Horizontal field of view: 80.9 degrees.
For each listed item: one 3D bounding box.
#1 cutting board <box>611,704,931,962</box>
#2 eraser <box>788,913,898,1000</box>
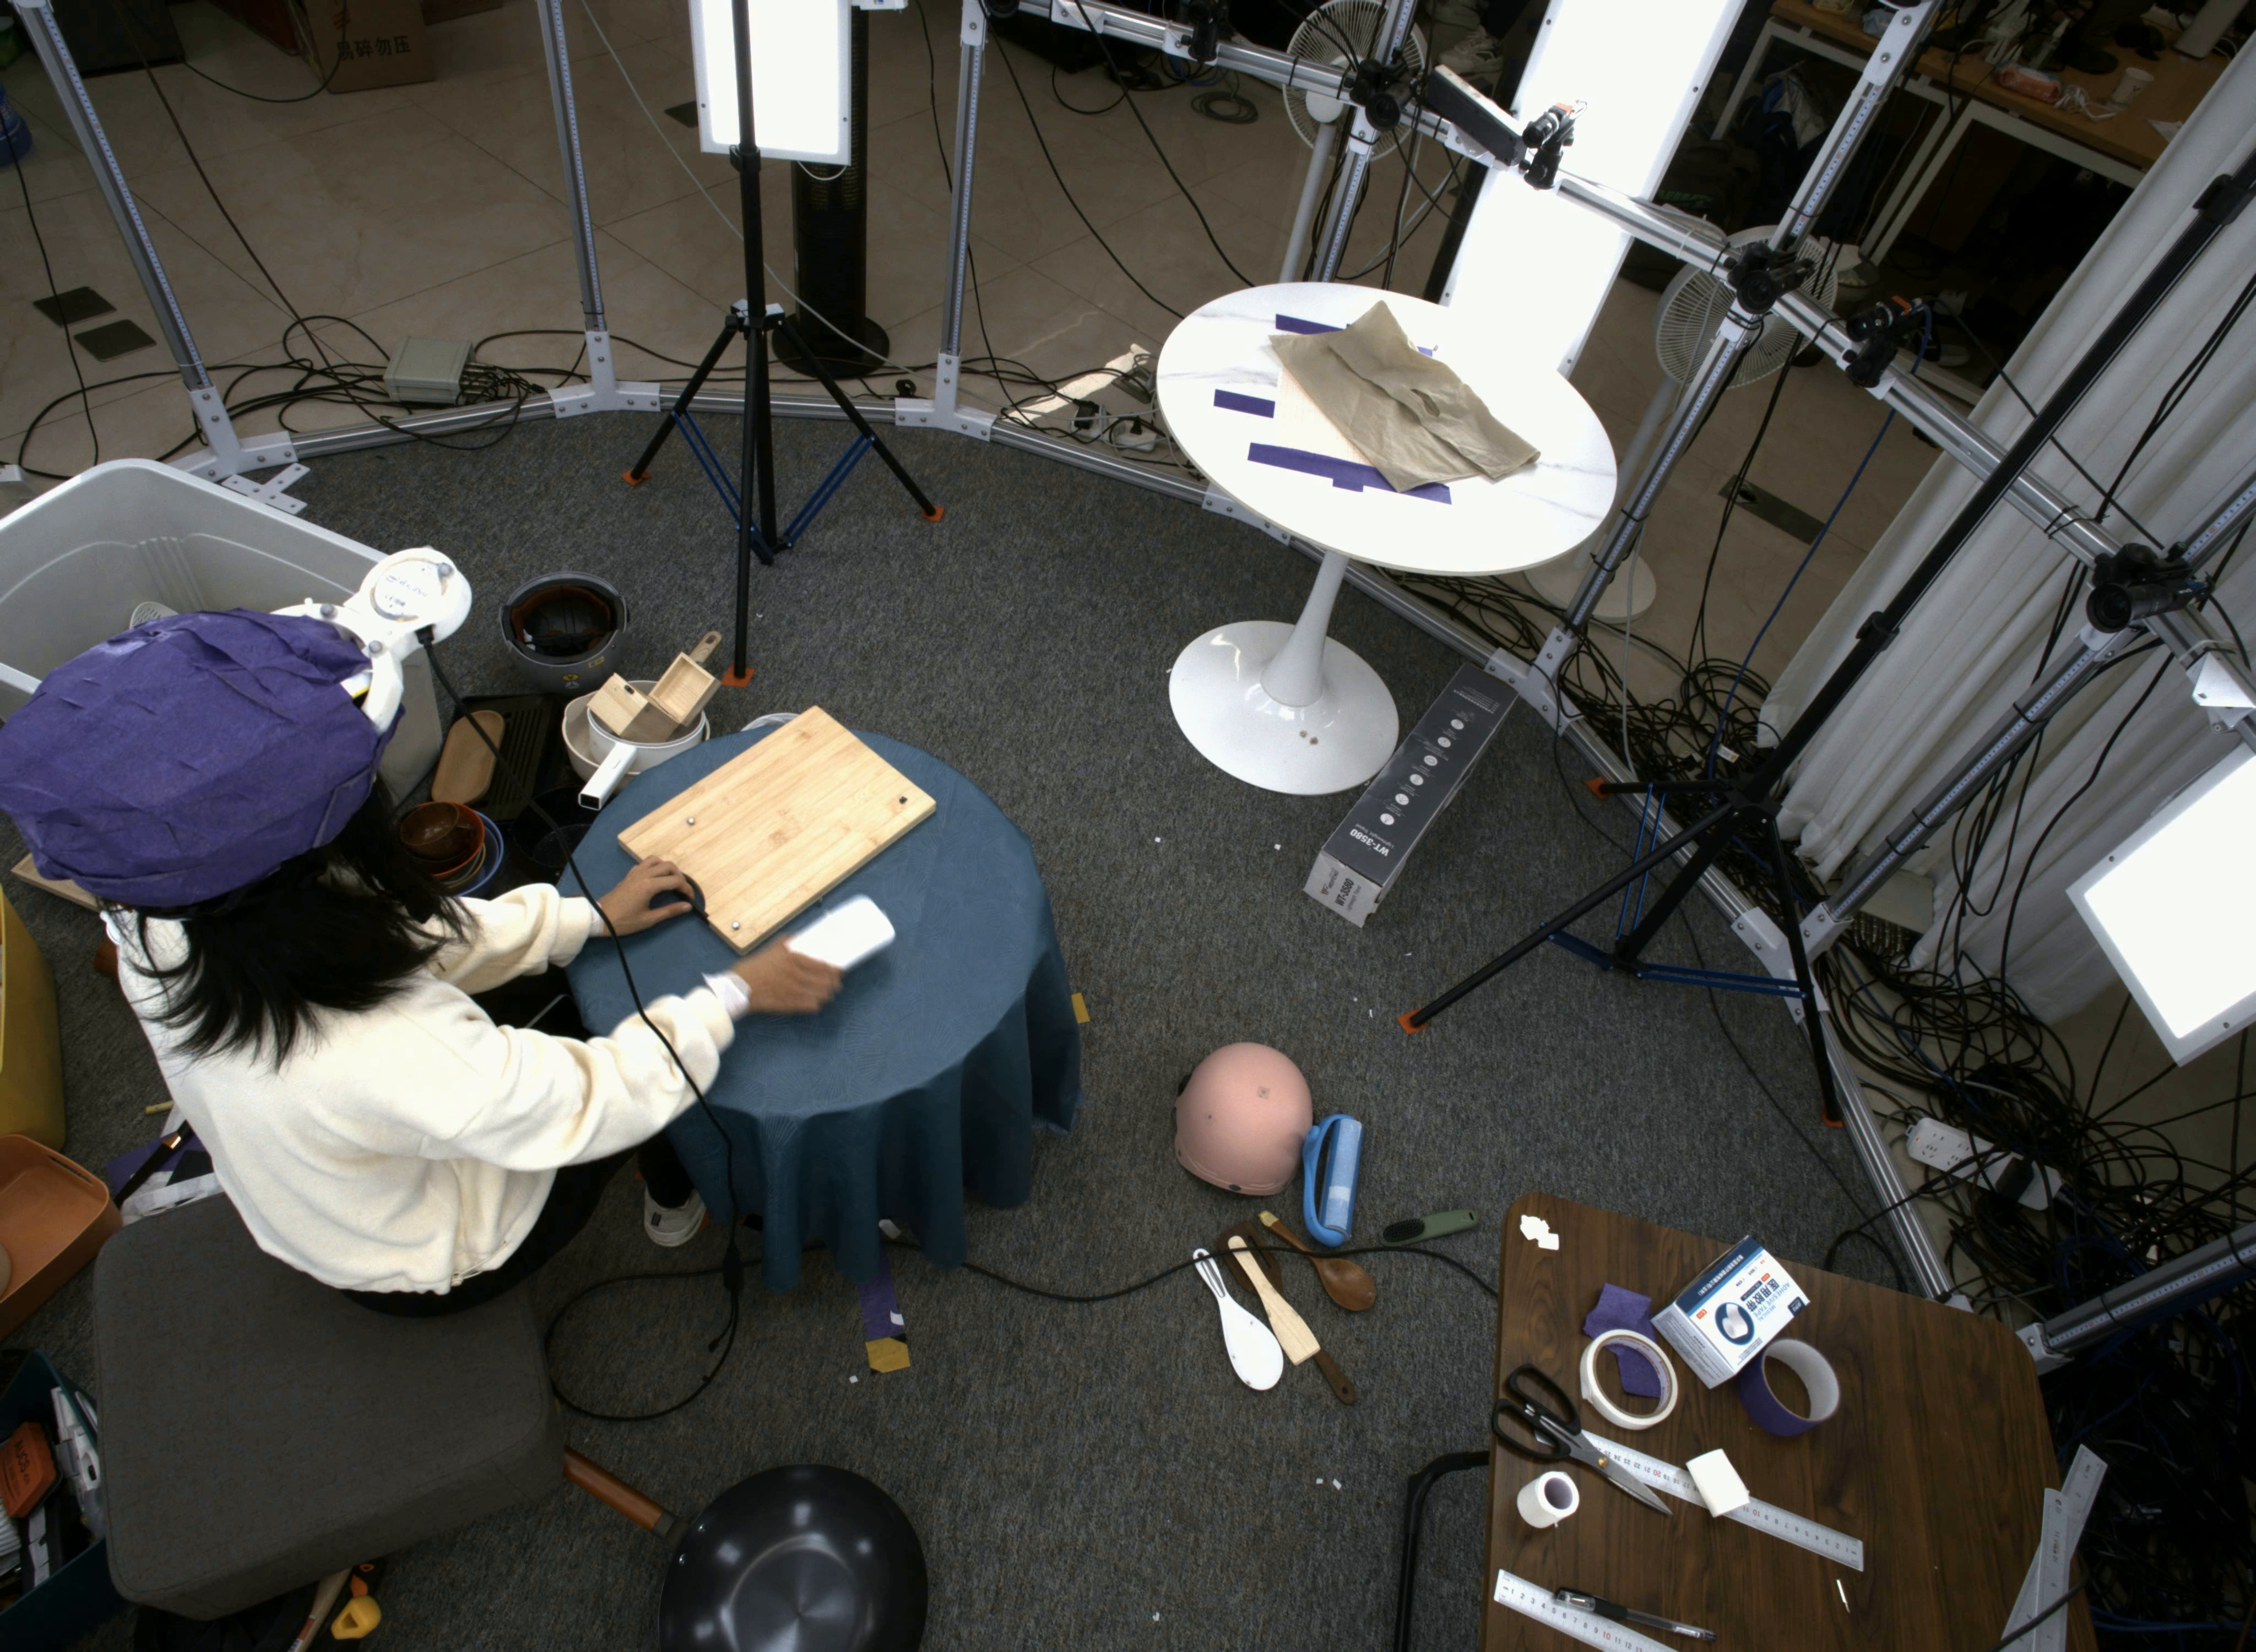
[{"bbox_3d":[-0.462,-0.003,1.701,0.246,0.024,0.349,37,54,14],"label":"cutting board"},{"bbox_3d":[-0.344,0.153,1.567,0.132,0.035,0.062,-30,72,-34],"label":"eraser"}]
